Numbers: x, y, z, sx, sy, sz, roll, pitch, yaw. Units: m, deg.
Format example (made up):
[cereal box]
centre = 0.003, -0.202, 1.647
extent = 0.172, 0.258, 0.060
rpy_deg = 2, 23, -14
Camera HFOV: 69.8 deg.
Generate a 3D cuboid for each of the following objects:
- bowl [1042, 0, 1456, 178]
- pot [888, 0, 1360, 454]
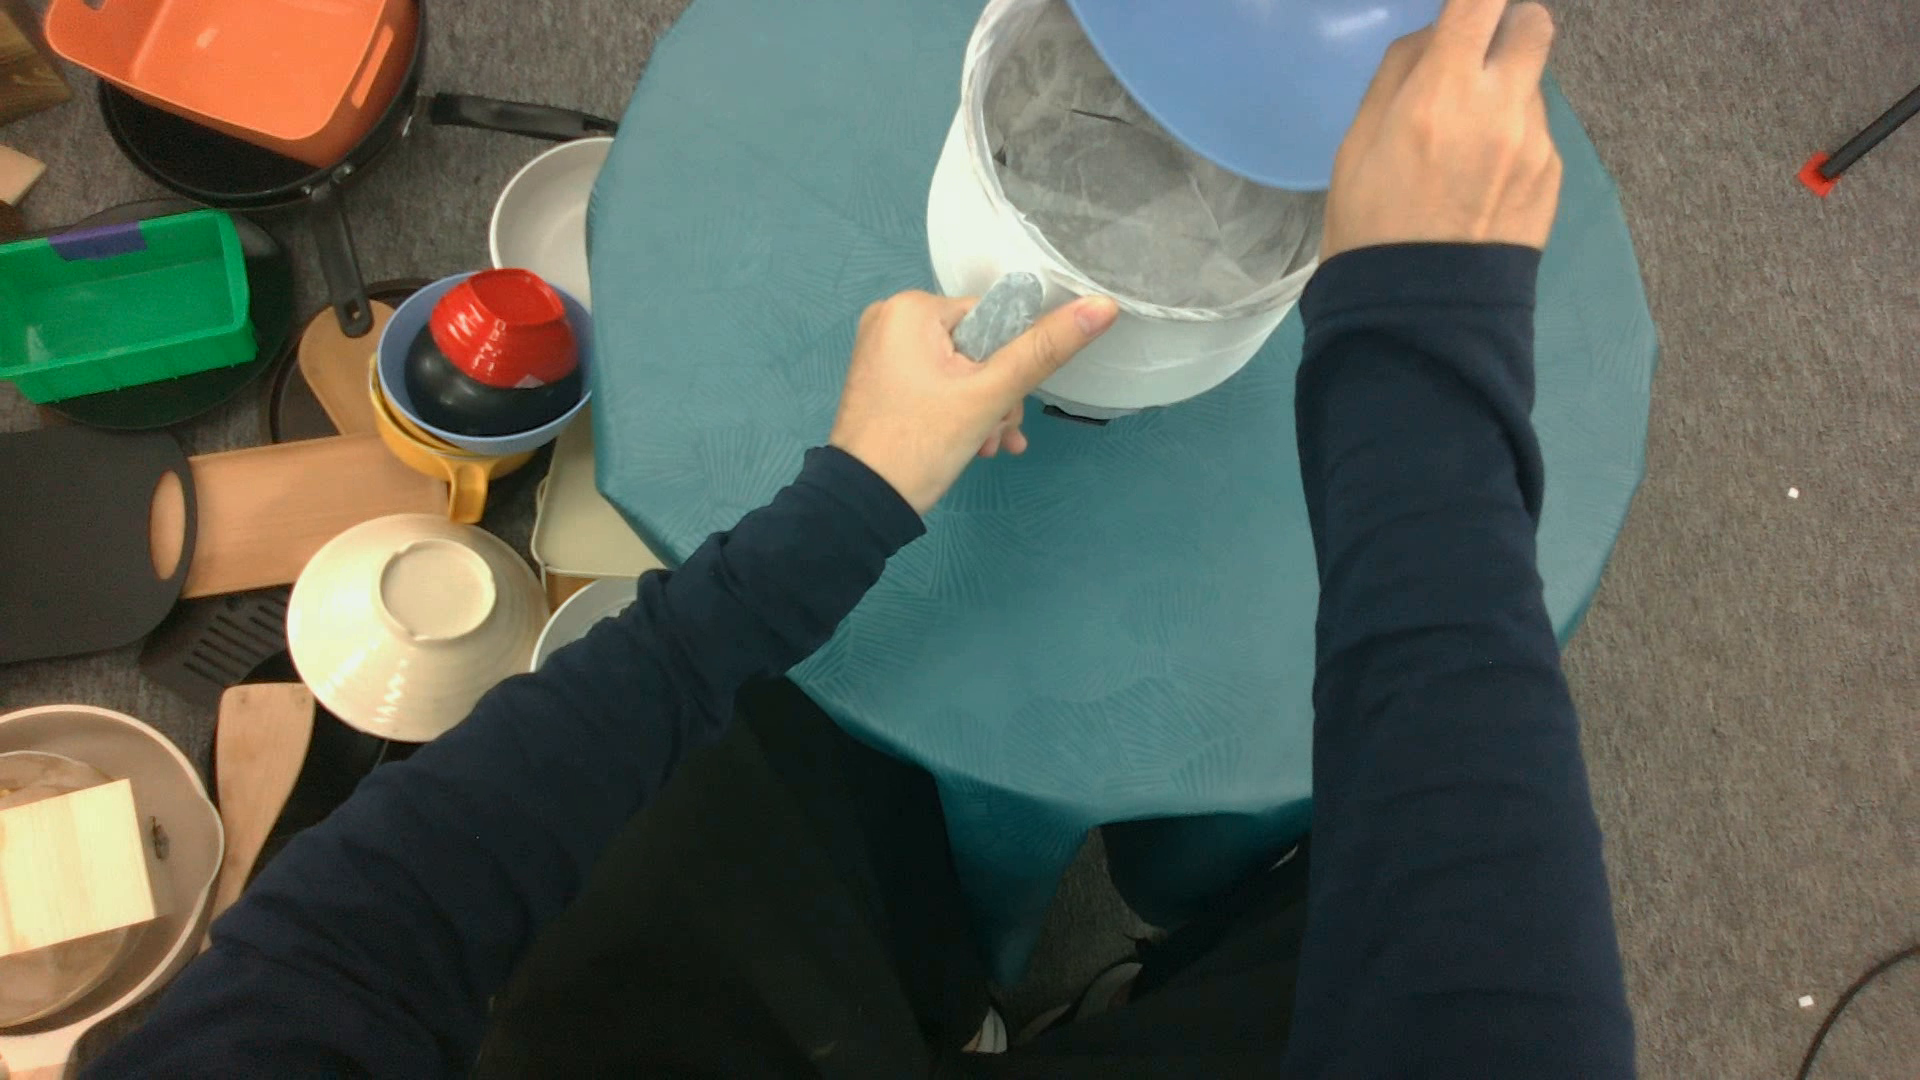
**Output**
[bowl]
centre = 0.112, -0.242, 0.504
extent = 0.096, 0.196, 0.196
rpy_deg = -40, 82, -17
[pot]
centre = 0.054, -0.142, 0.611
extent = 0.179, 0.136, 0.234
rpy_deg = 37, 71, 4
